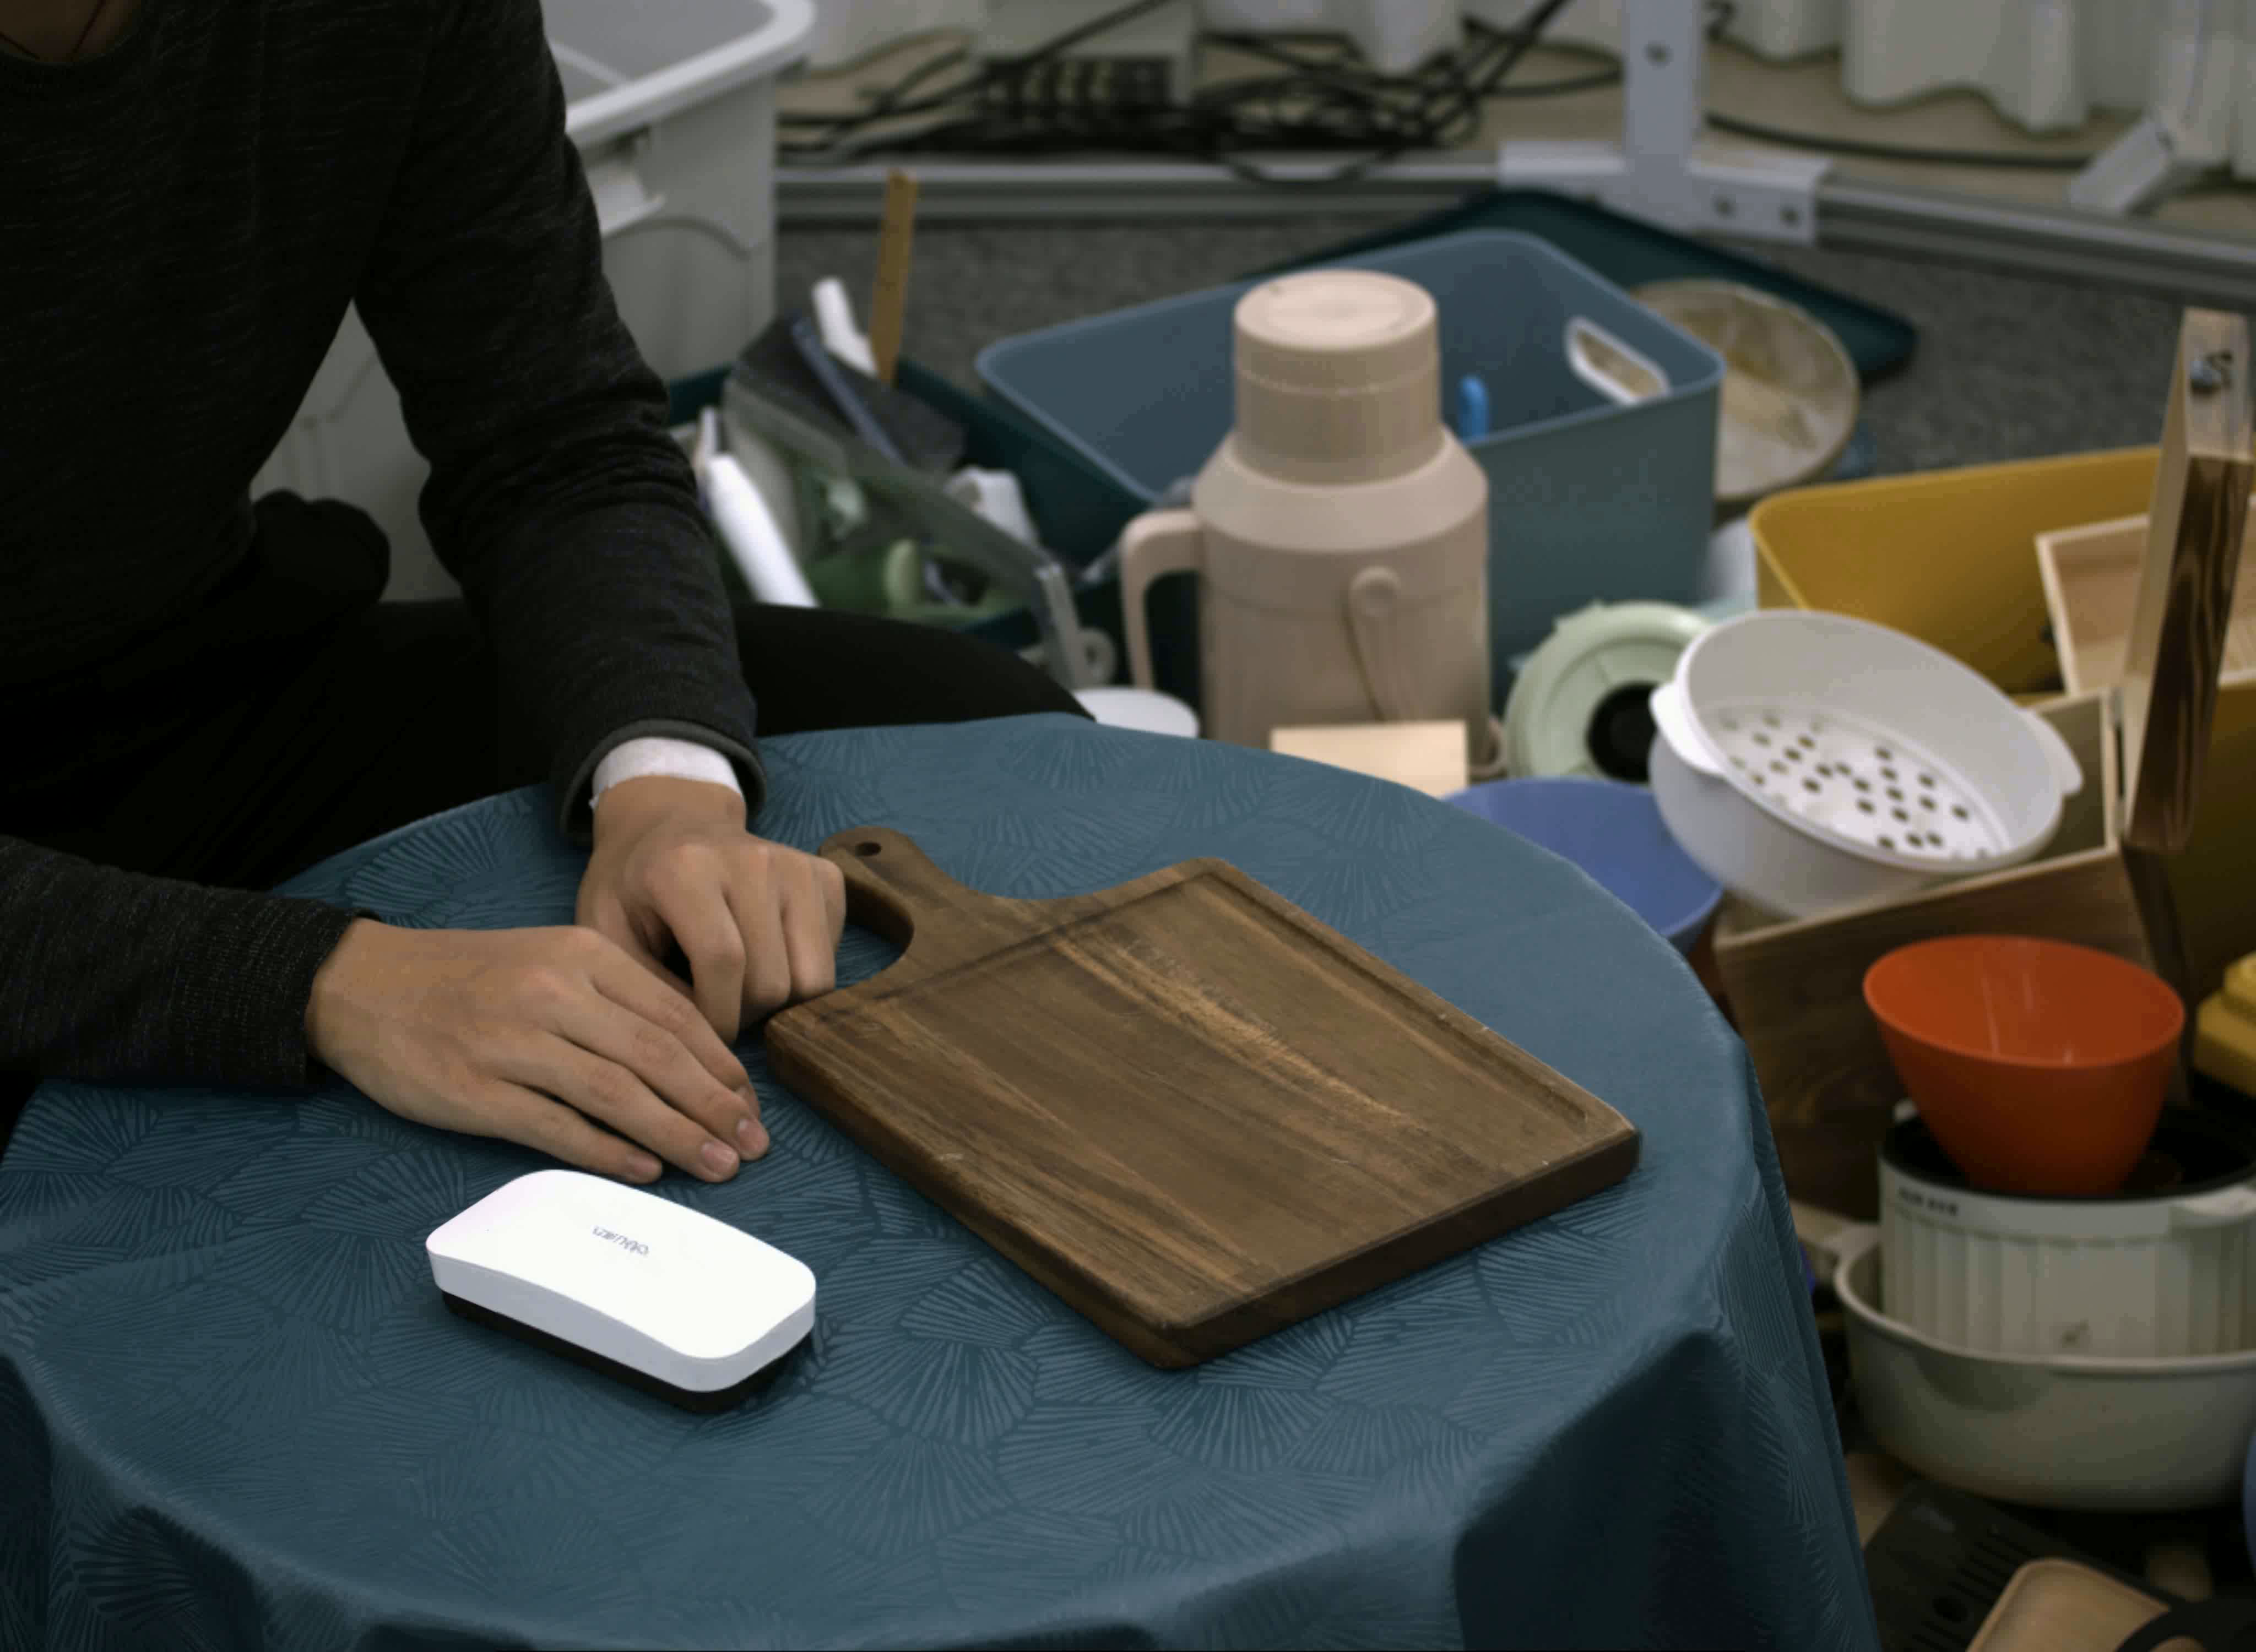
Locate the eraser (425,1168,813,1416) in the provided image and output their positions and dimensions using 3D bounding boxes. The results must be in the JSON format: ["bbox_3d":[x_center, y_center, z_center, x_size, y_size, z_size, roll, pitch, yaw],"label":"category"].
[{"bbox_3d":[-0.162,0.146,1.797,0.131,0.034,0.064,19,36,34],"label":"eraser"}]

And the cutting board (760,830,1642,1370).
[{"bbox_3d":[-0.006,0.073,1.932,0.203,0.023,0.353,-20,32,-29],"label":"cutting board"}]
